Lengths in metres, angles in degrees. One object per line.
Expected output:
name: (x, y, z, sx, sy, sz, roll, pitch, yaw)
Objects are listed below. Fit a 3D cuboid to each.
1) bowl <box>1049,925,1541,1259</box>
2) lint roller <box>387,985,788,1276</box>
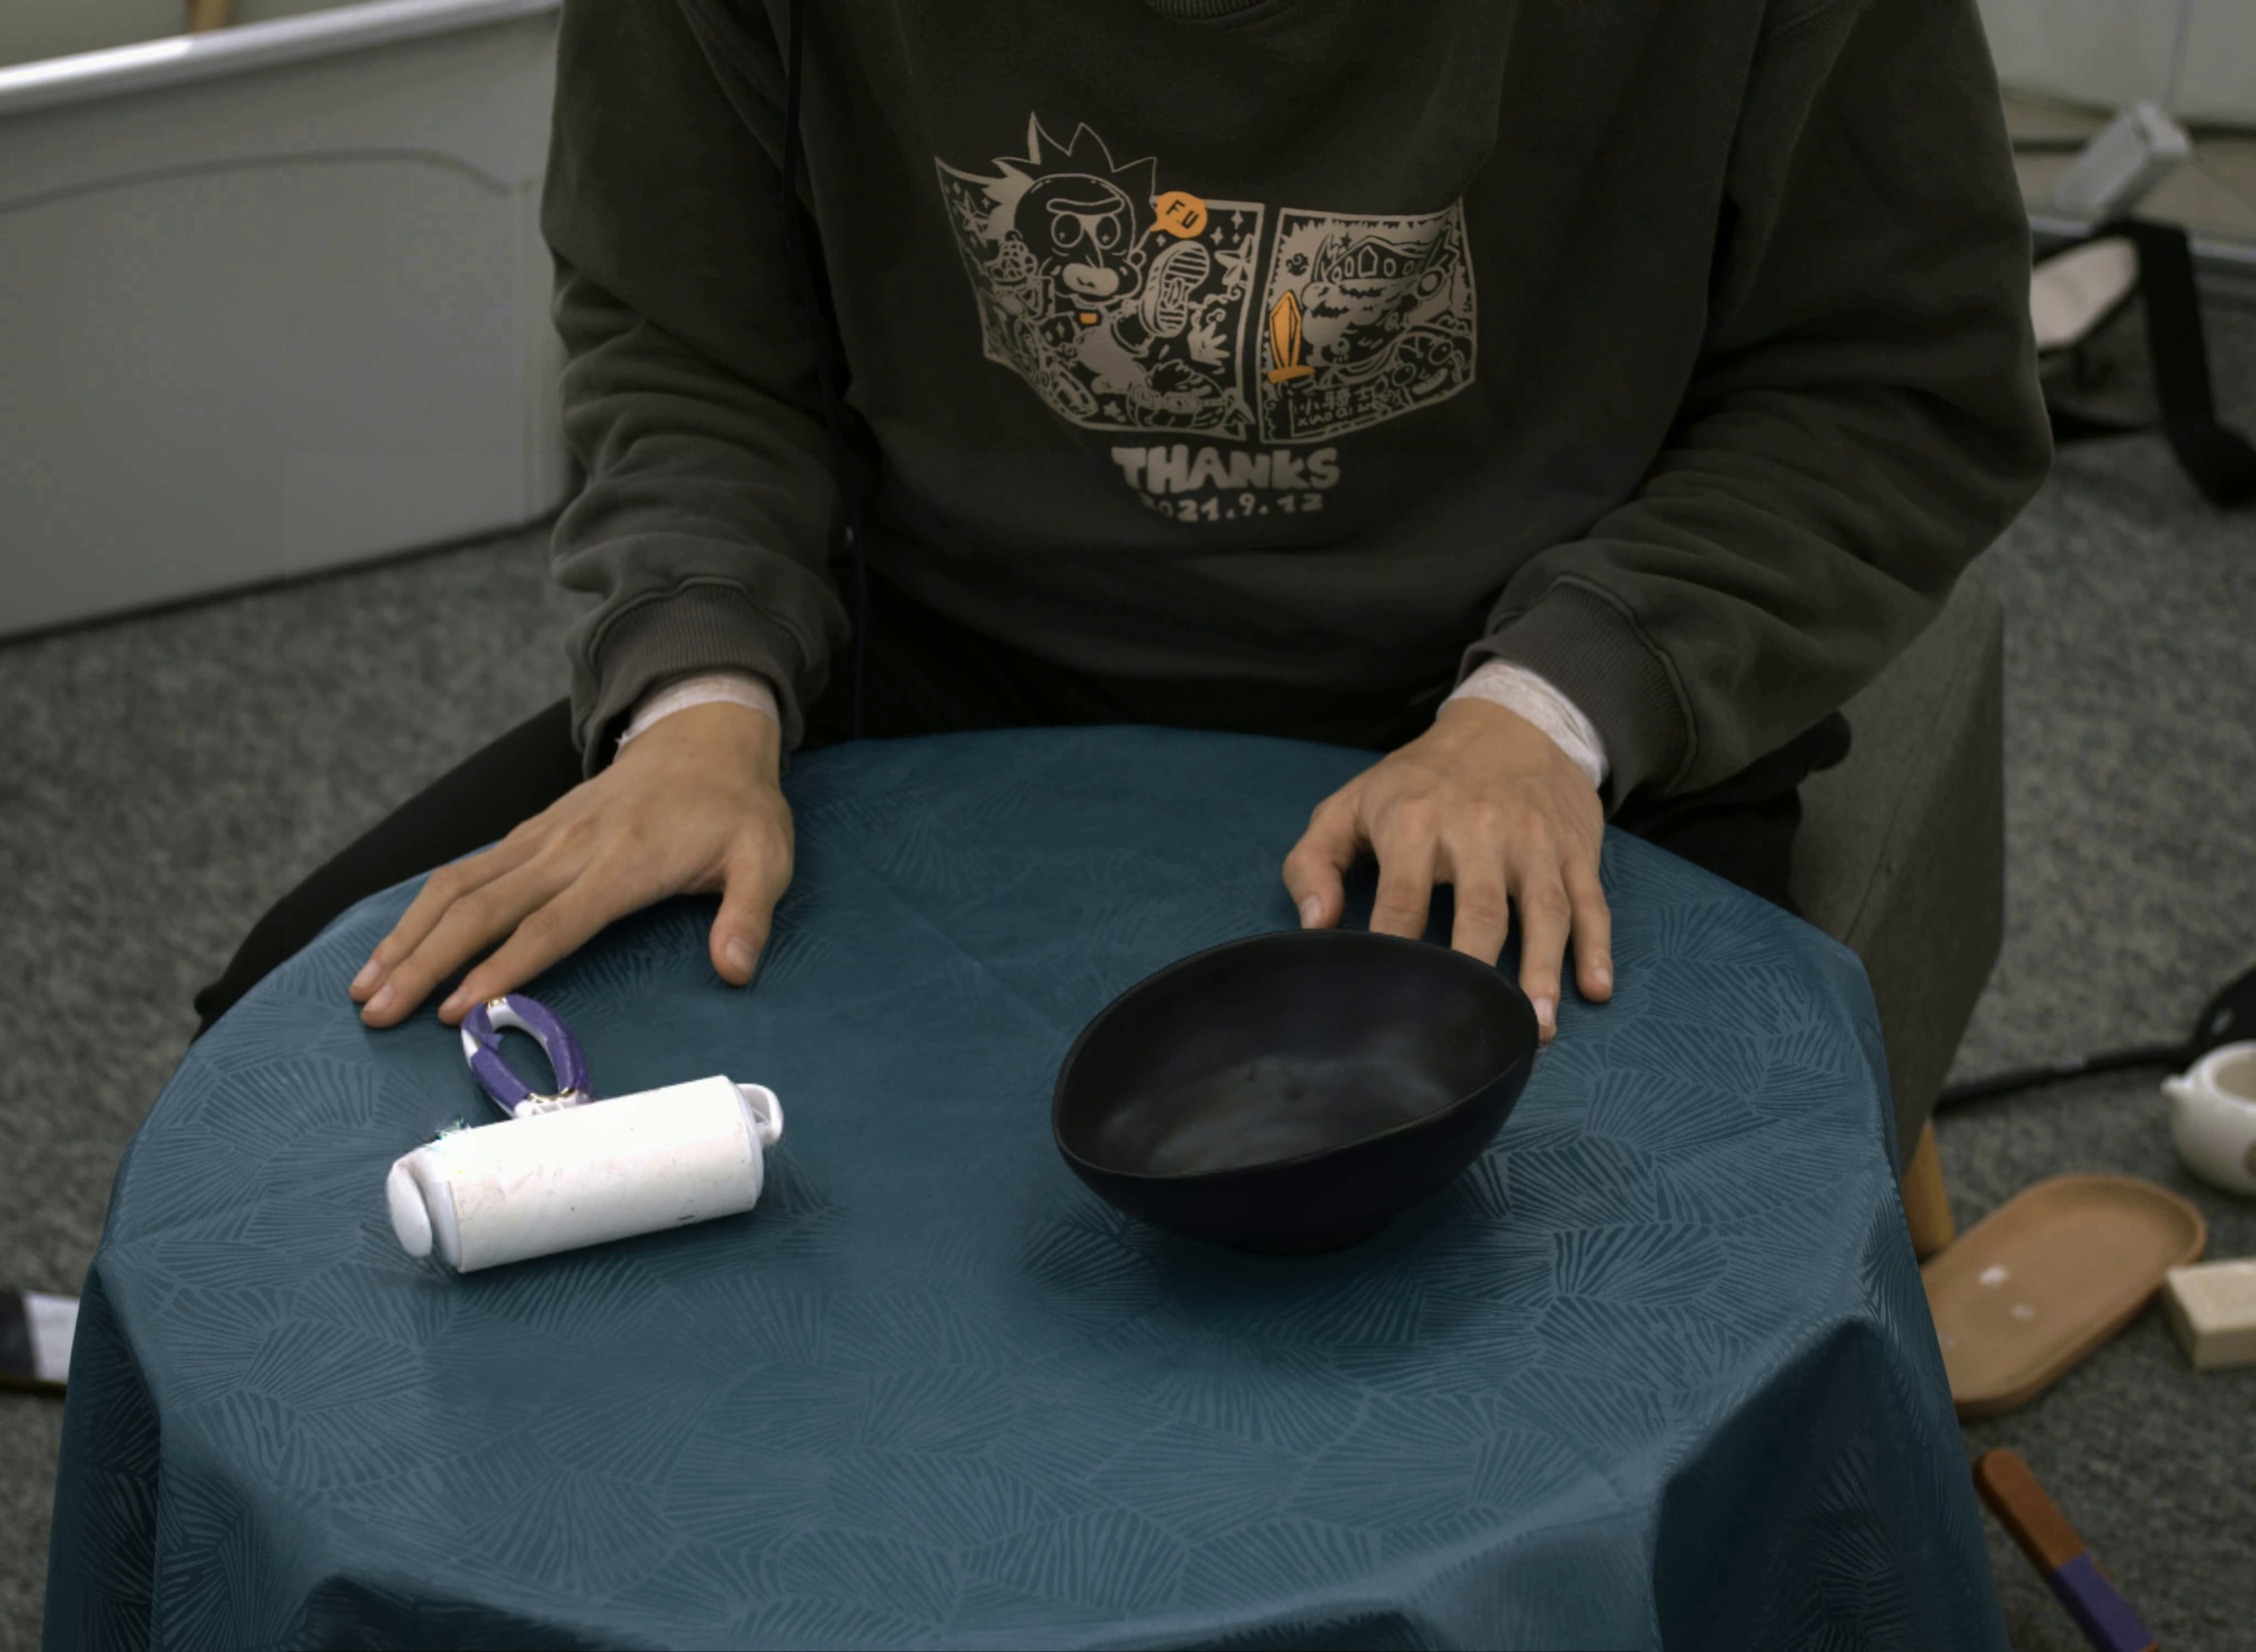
bowl: (0.057, 0.097, 1.834, 0.171, 0.066, 0.137, -21, 31, -27)
lint roller: (-0.194, 0.085, 1.898, 0.133, 0.049, 0.183, -11, 31, -13)
